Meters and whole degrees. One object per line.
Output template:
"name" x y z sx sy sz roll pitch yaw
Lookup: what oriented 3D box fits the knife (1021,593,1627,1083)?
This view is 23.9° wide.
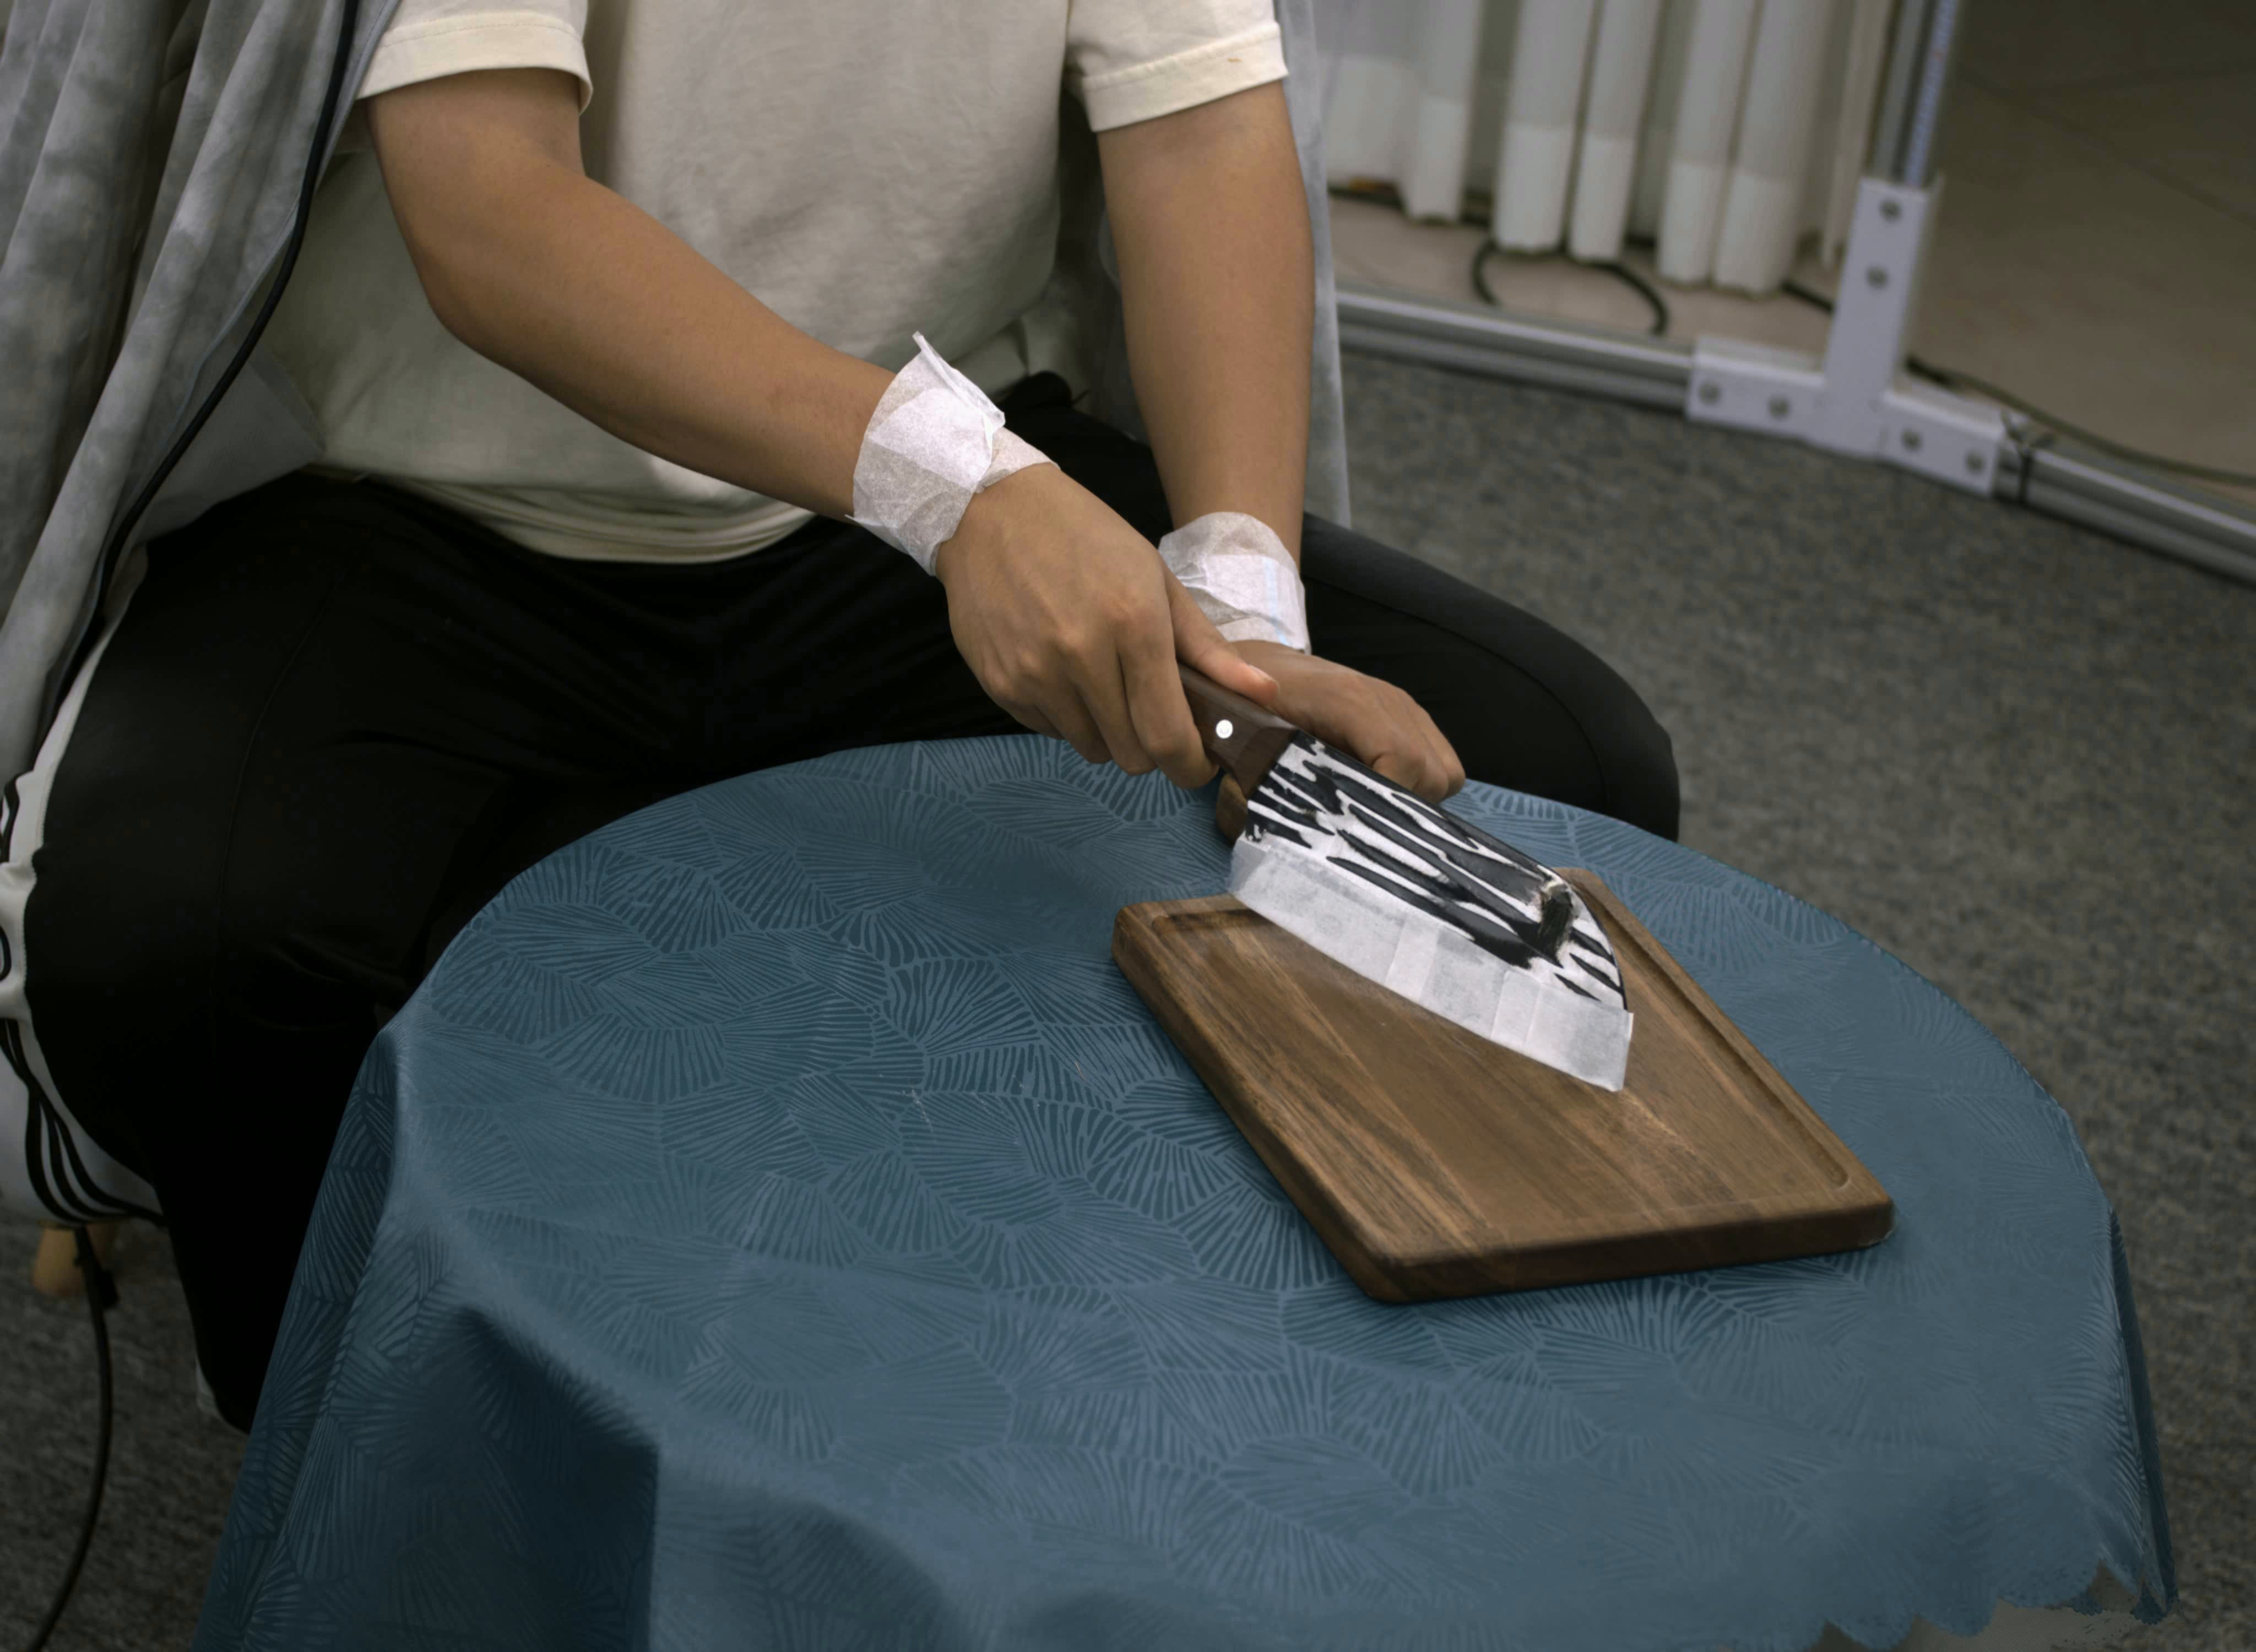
"knife" 0.067 0.003 1.934 0.301 0.068 0.024 31 9 29

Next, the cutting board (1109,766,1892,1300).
"cutting board" 0.110 0.063 1.926 0.200 0.023 0.355 -5 28 -21
